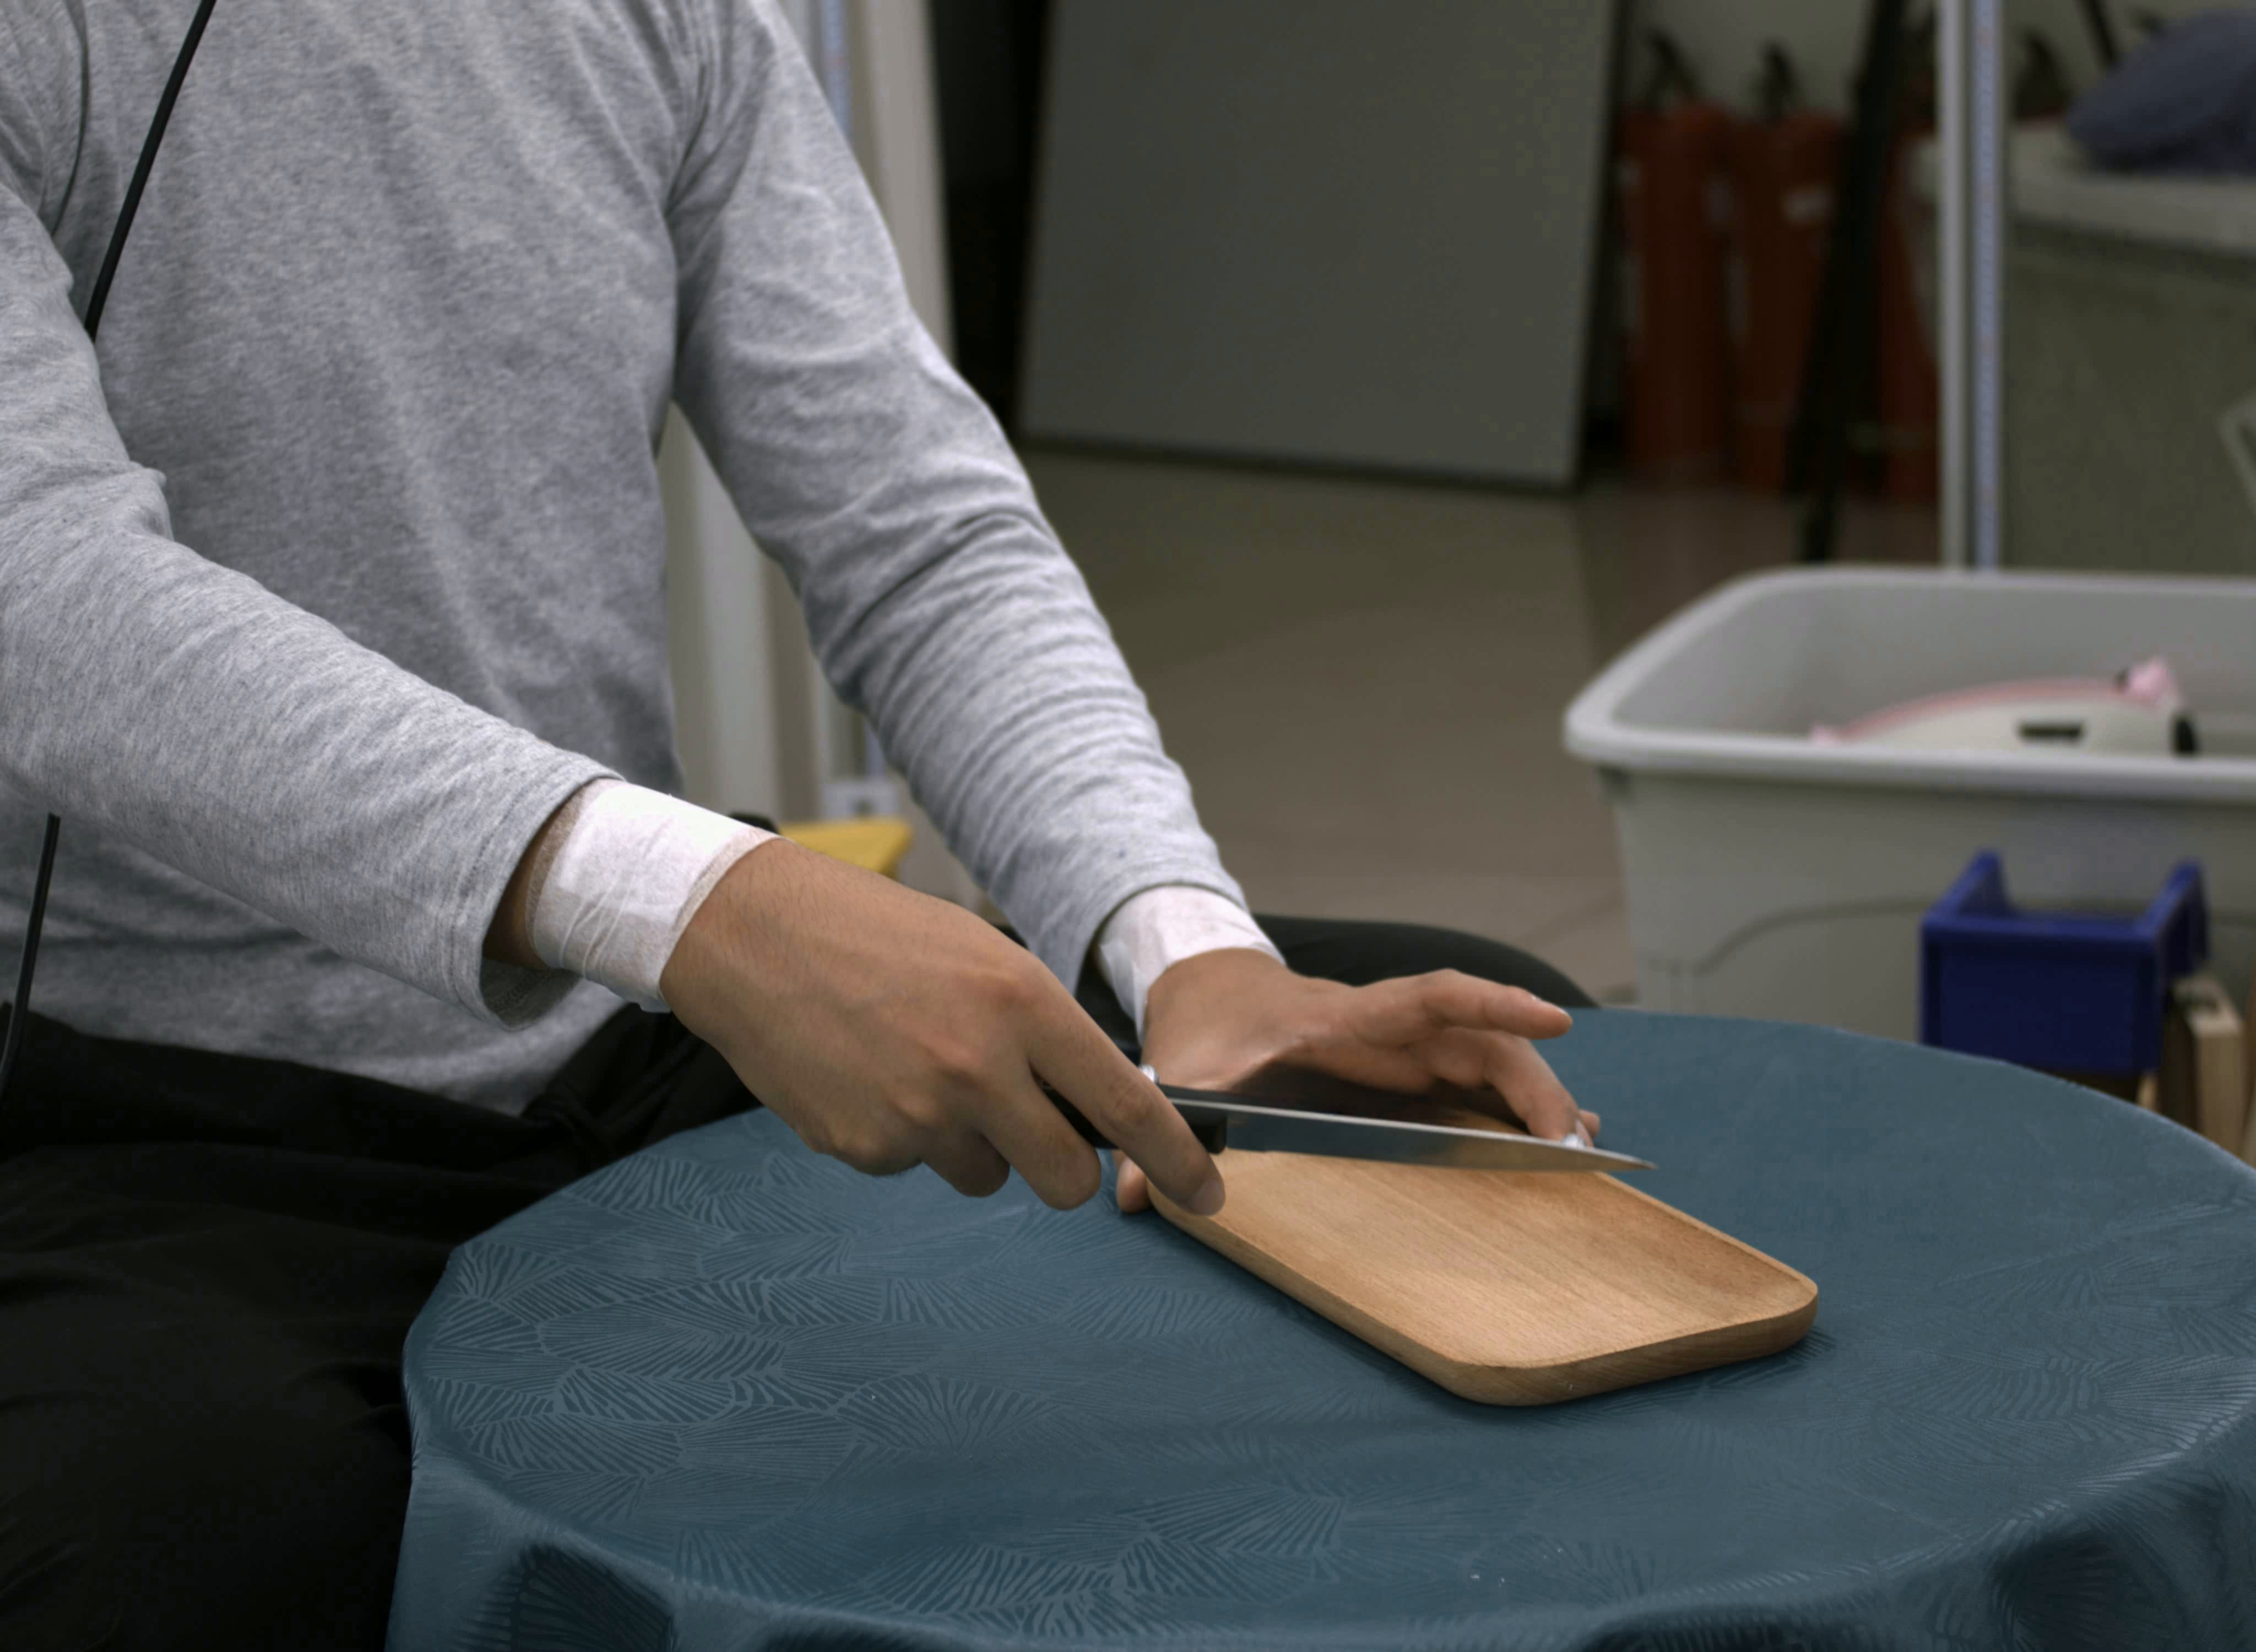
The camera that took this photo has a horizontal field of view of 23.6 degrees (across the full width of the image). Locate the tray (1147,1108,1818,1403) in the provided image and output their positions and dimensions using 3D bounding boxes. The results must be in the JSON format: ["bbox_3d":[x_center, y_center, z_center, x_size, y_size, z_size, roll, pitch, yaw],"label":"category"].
[{"bbox_3d":[0.106,0.131,1.670,0.128,0.023,0.253,-7,12,-22],"label":"tray"}]

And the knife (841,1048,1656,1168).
[{"bbox_3d":[0.034,0.083,1.541,0.236,0.024,0.016,6,56,6],"label":"knife"}]
